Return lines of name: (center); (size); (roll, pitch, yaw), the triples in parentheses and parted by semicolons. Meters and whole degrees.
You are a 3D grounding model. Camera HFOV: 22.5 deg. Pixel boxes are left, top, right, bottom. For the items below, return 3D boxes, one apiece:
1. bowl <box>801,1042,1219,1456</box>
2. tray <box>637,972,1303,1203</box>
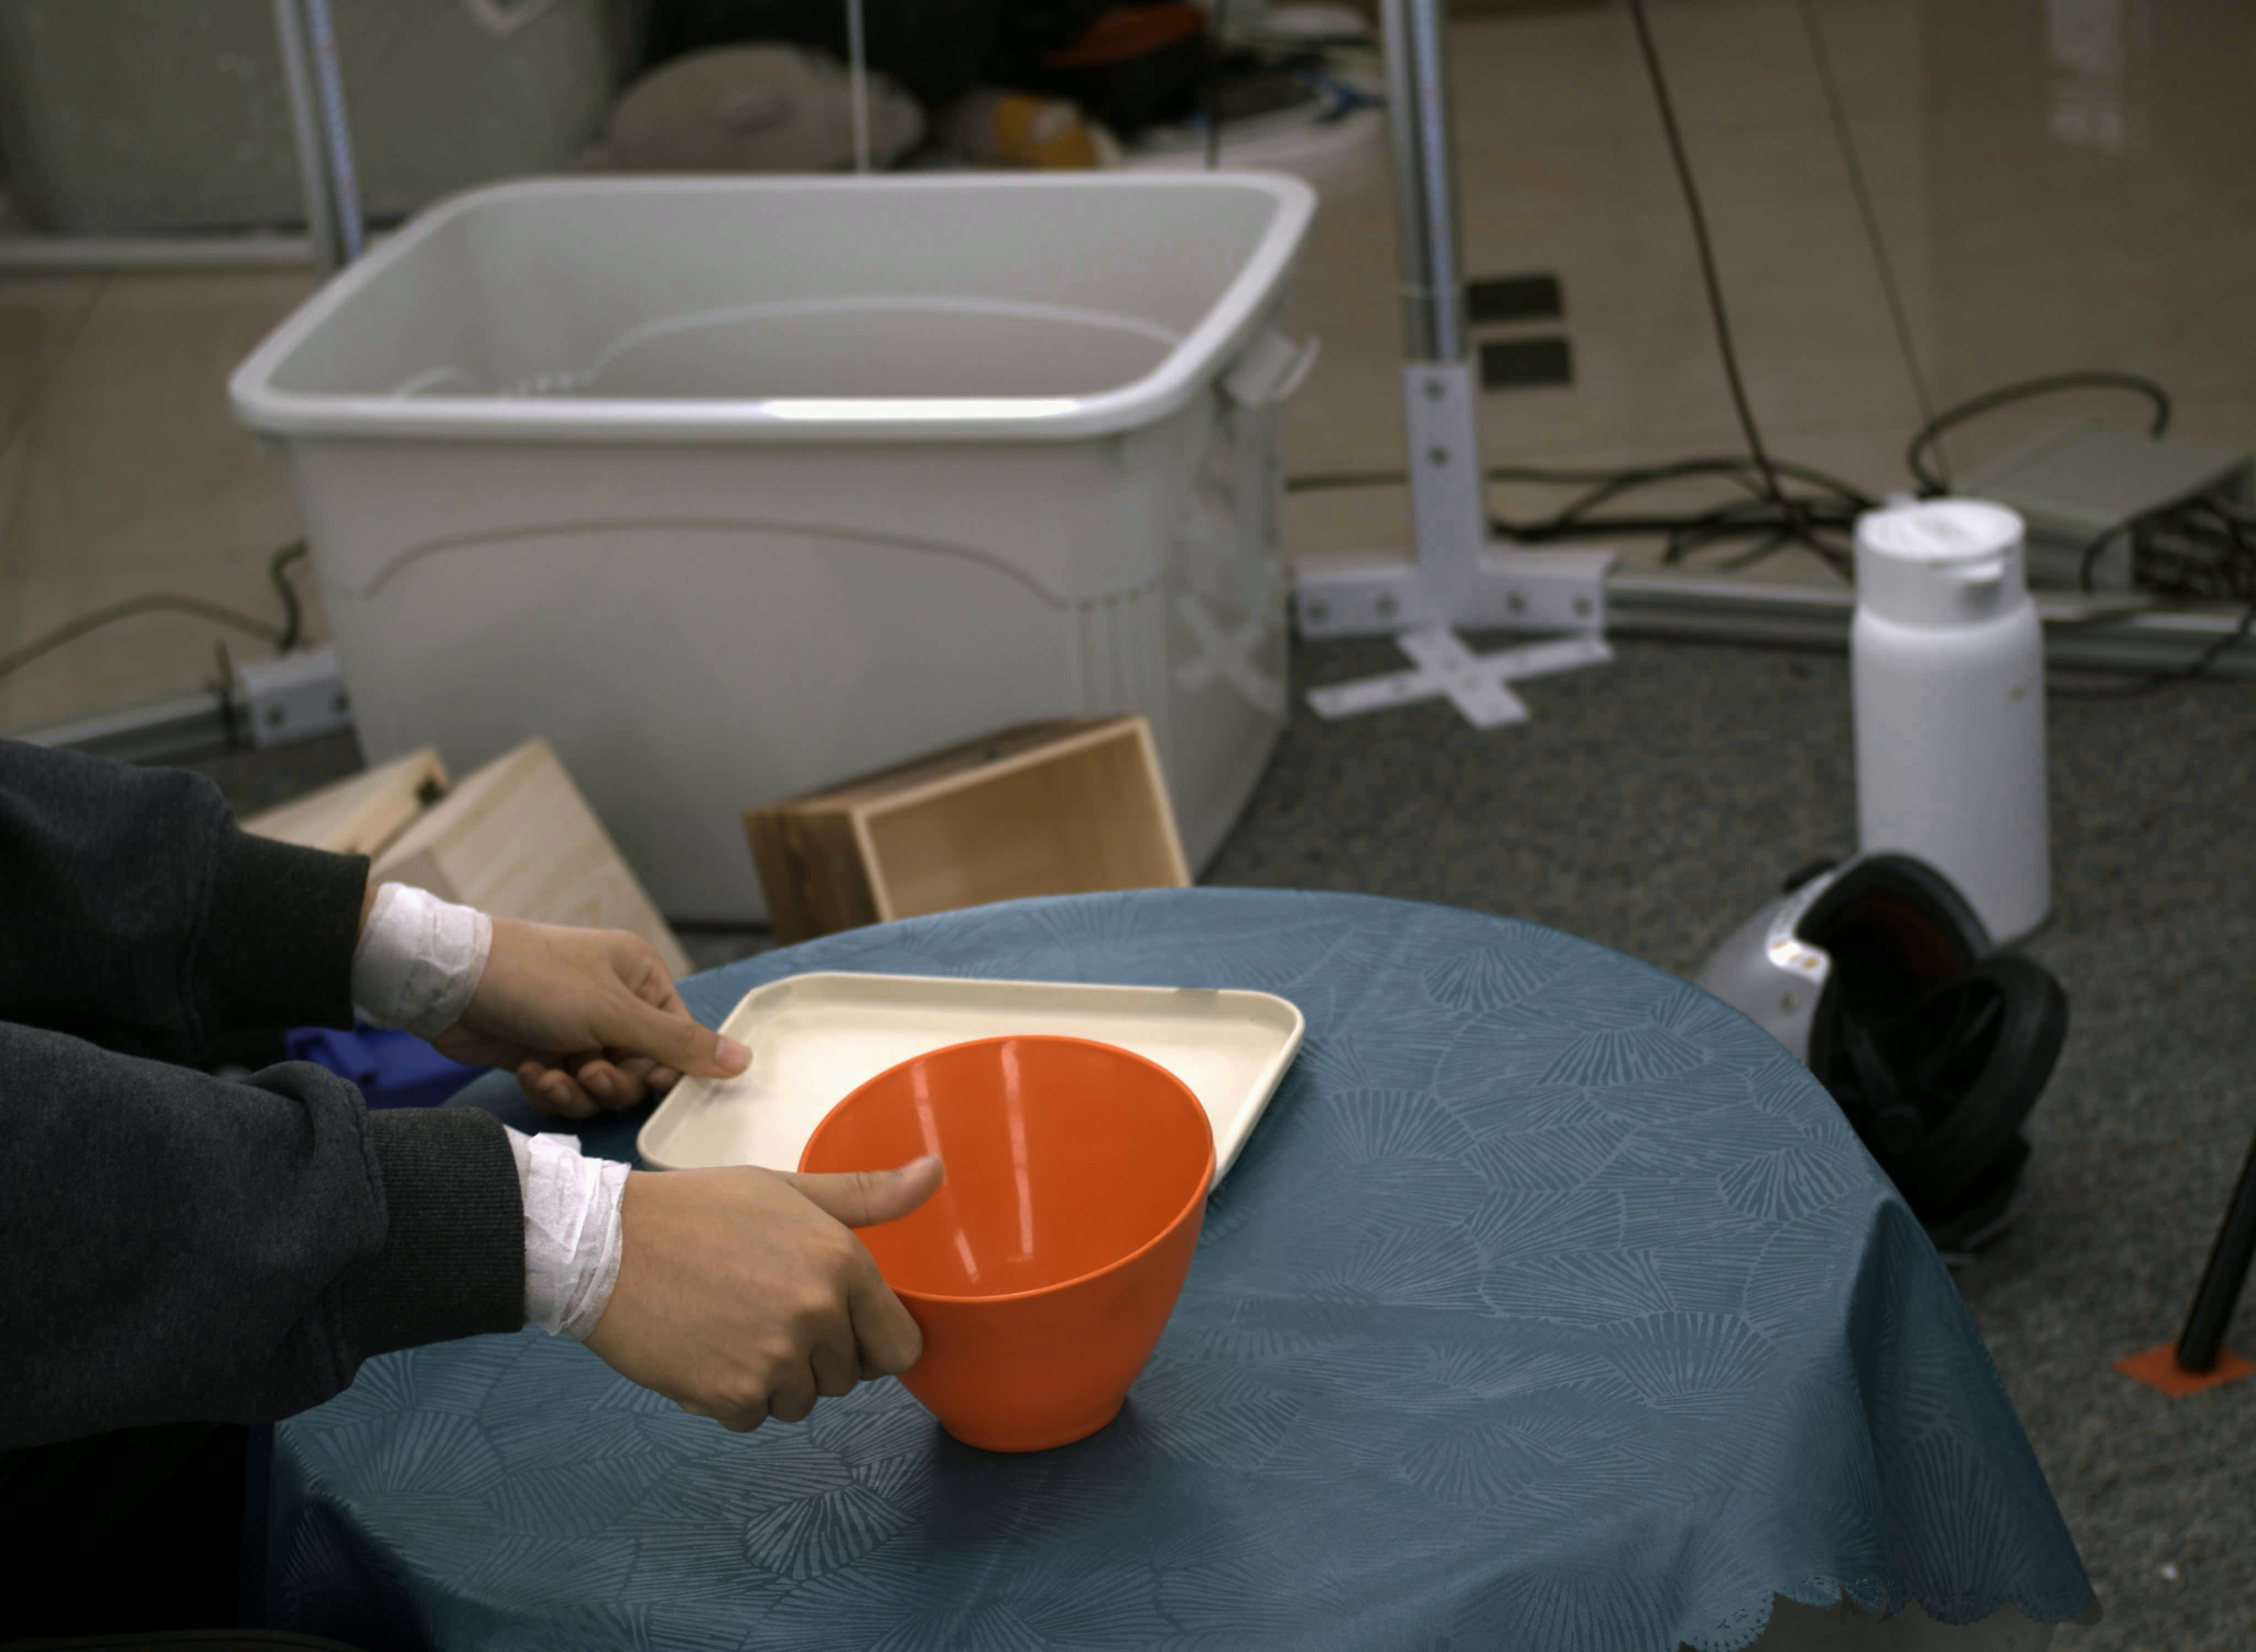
bowl: (-0.038, 0.155, 2.000); (0.148, 0.106, 0.146); (-4, 25, 2)
tray: (-0.060, 0.105, 2.213); (0.239, 0.018, 0.169); (2, 27, 18)
